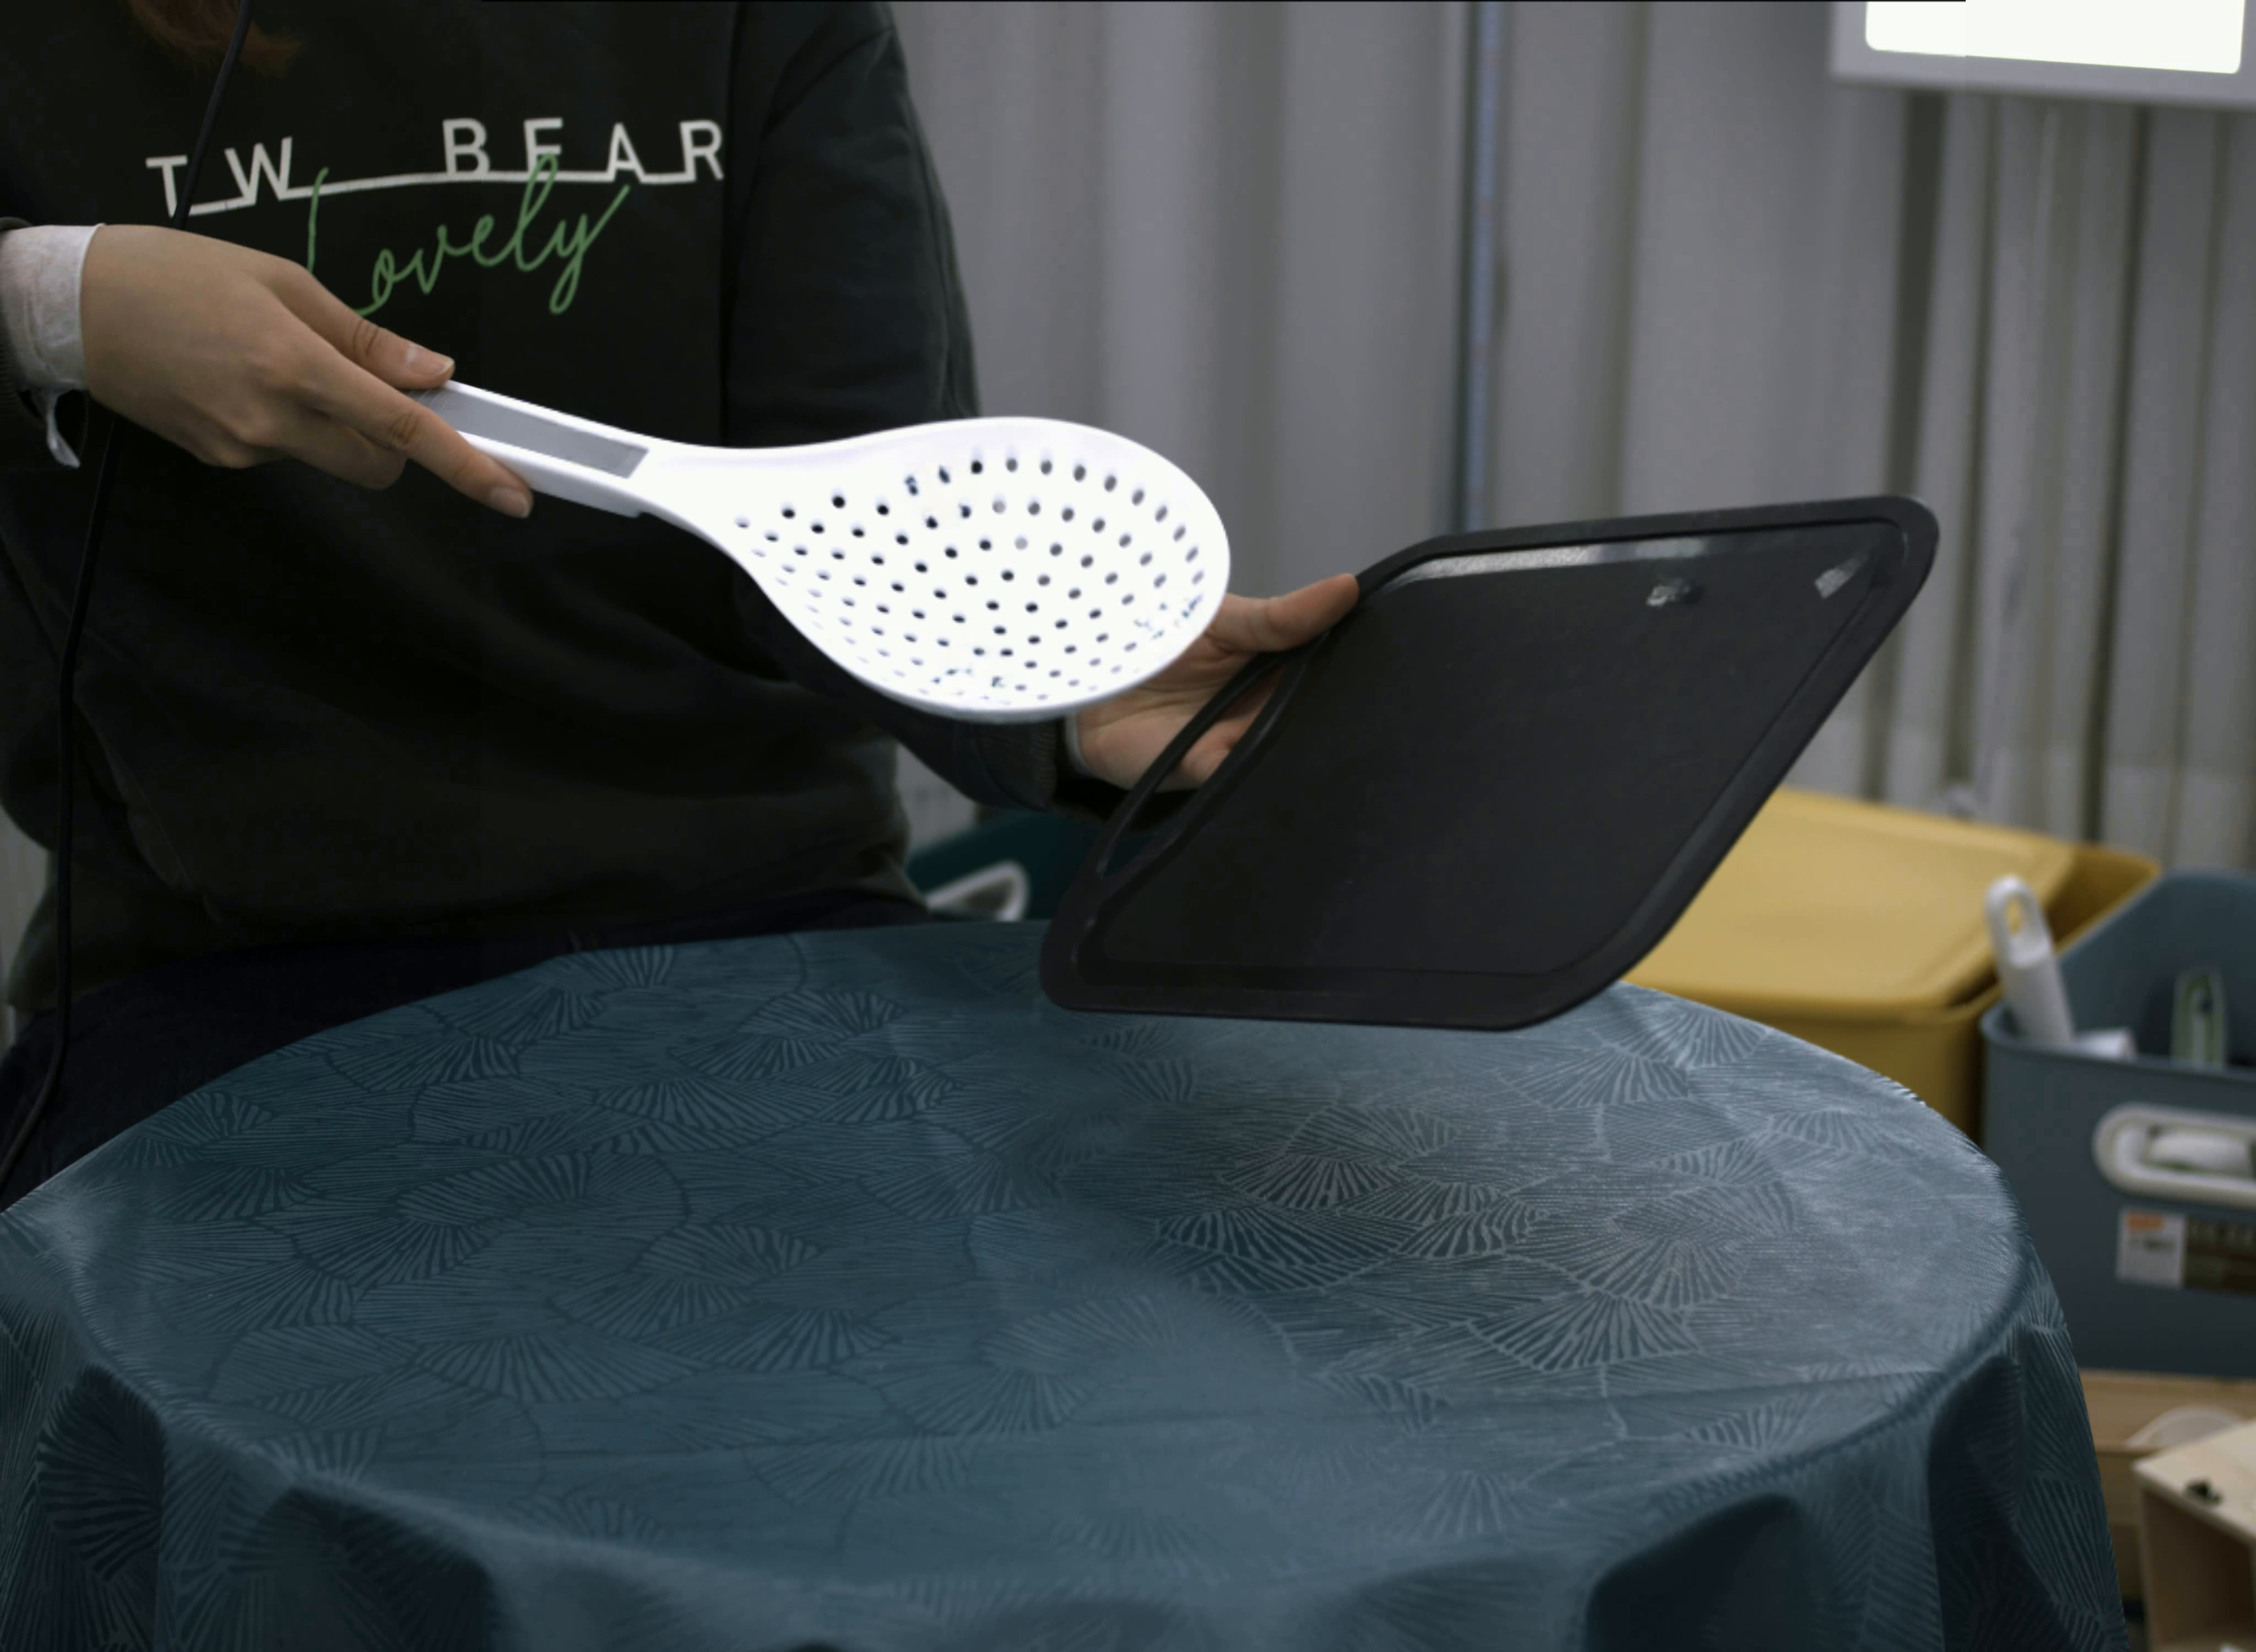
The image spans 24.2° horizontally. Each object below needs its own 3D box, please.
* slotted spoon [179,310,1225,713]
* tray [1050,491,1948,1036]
[{"bbox_3d":[-0.137,-0.107,1.629,0.347,0.046,0.135,20,45,12],"label":"slotted spoon"},{"bbox_3d":[0.098,-0.020,1.581,0.211,0.010,0.322,-52,26,-22],"label":"tray"}]
